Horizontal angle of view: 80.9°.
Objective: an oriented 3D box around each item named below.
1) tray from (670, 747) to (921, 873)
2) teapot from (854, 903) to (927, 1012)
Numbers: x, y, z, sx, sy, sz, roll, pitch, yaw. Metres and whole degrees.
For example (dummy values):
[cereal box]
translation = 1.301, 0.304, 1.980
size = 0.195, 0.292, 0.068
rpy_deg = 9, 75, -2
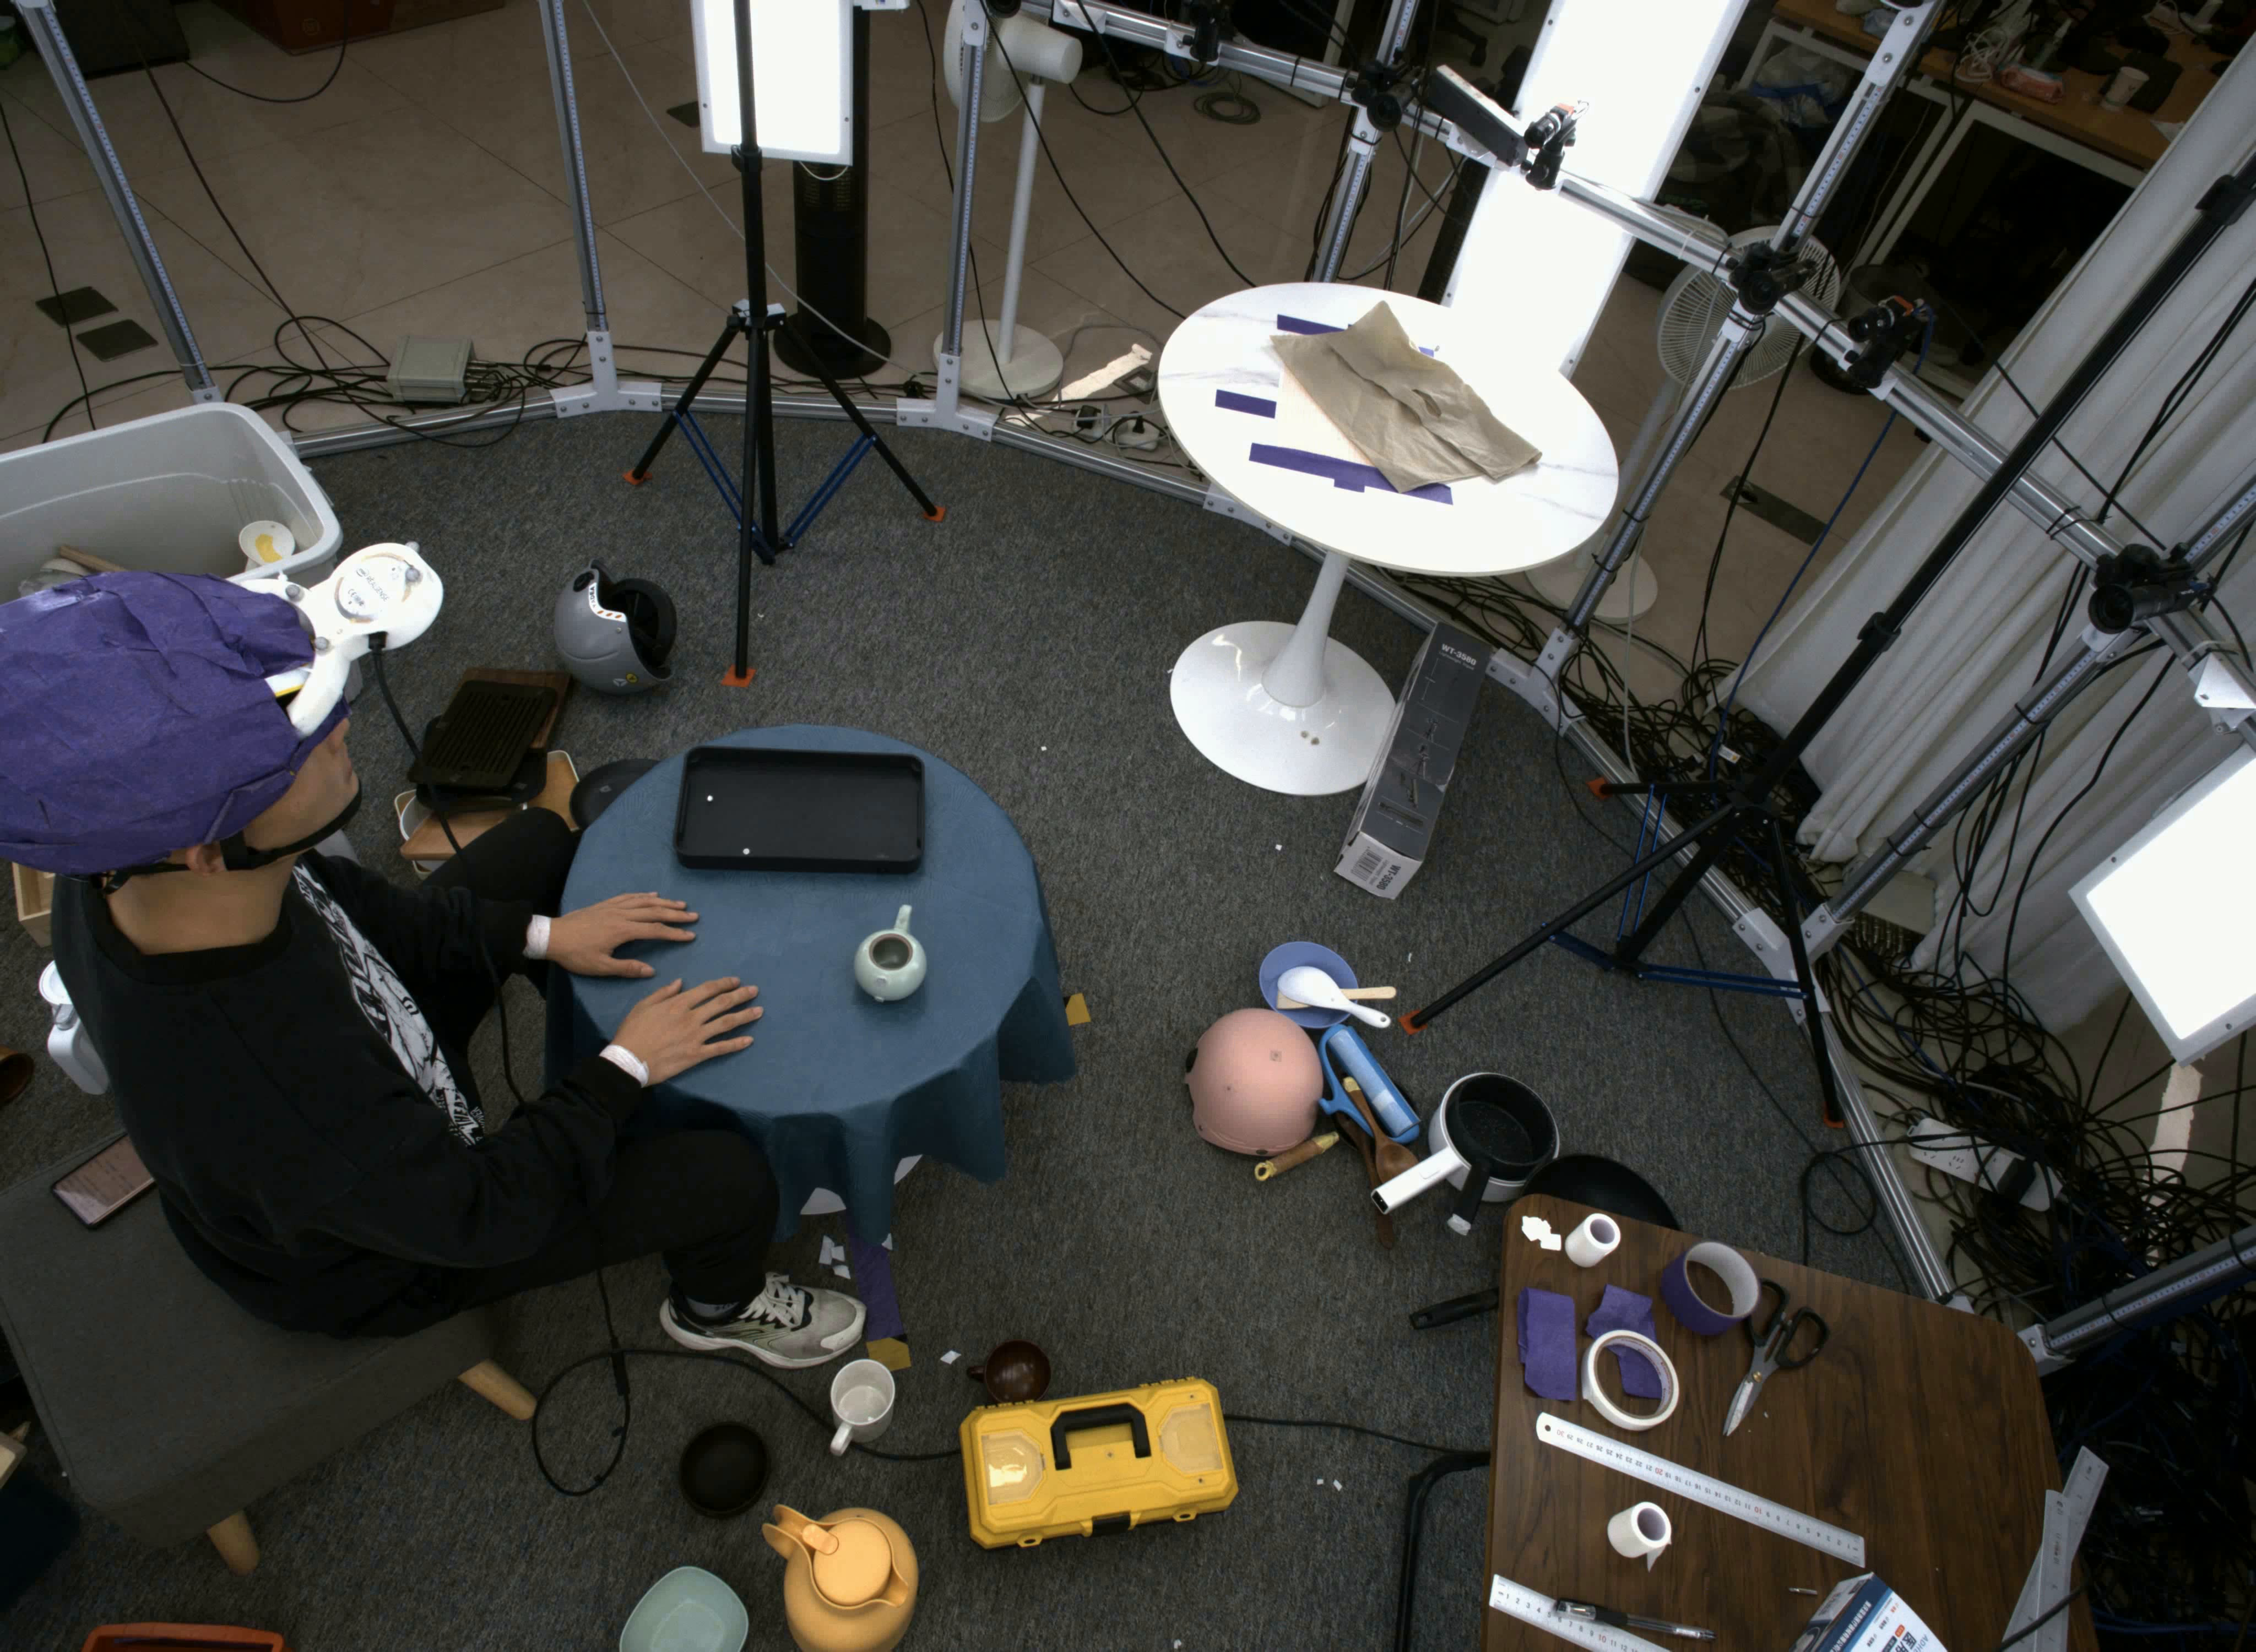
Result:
[tray]
translation = -0.435, -0.023, 1.712
size = 0.318, 0.038, 0.180
rpy_deg = 0, 54, -15
[teapot]
translation = -0.290, 0.167, 1.585
size = 0.087, 0.076, 0.142
rpy_deg = 16, 50, 0
